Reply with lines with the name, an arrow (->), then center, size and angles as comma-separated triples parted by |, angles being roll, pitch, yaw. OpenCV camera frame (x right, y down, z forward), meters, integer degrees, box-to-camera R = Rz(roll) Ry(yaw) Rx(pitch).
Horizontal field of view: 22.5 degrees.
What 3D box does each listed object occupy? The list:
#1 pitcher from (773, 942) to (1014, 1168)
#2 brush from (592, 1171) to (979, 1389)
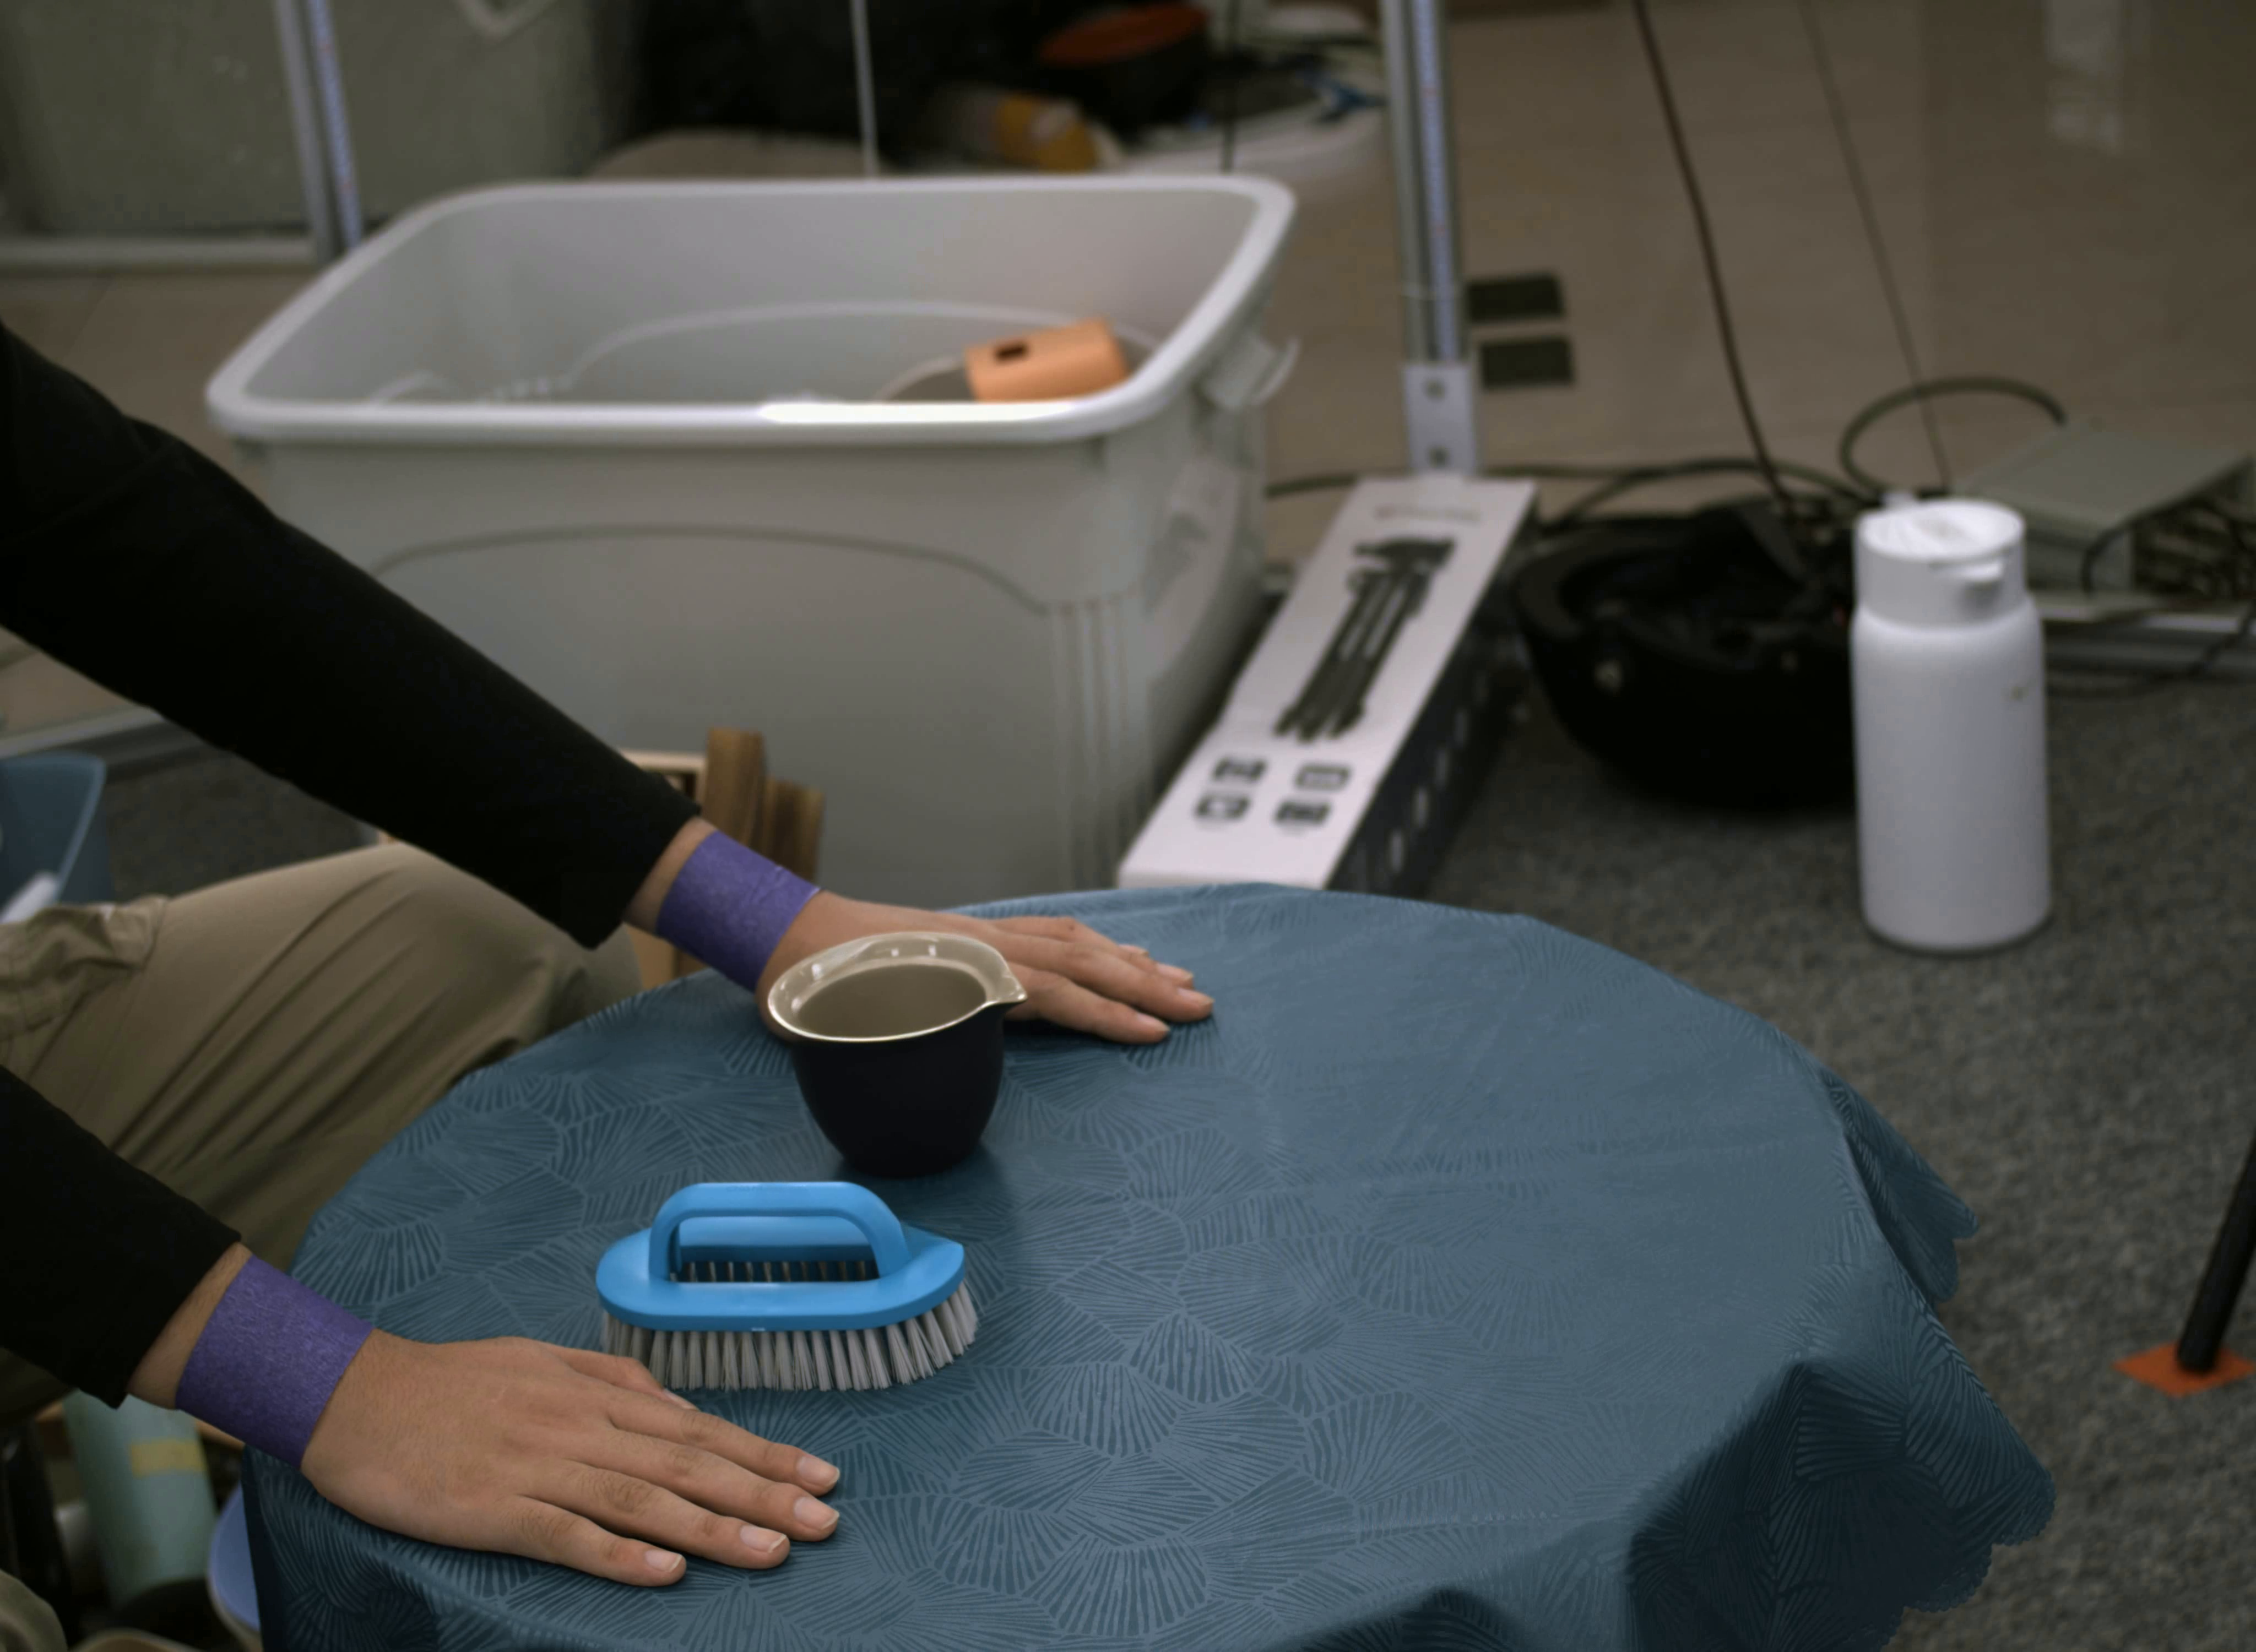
pitcher -> -0.086, 0.090, 2.183 | 0.095, 0.072, 0.082 | 6, 27, 21
brush -> -0.128, 0.156, 2.061 | 0.141, 0.065, 0.083 | -1, 30, 13
